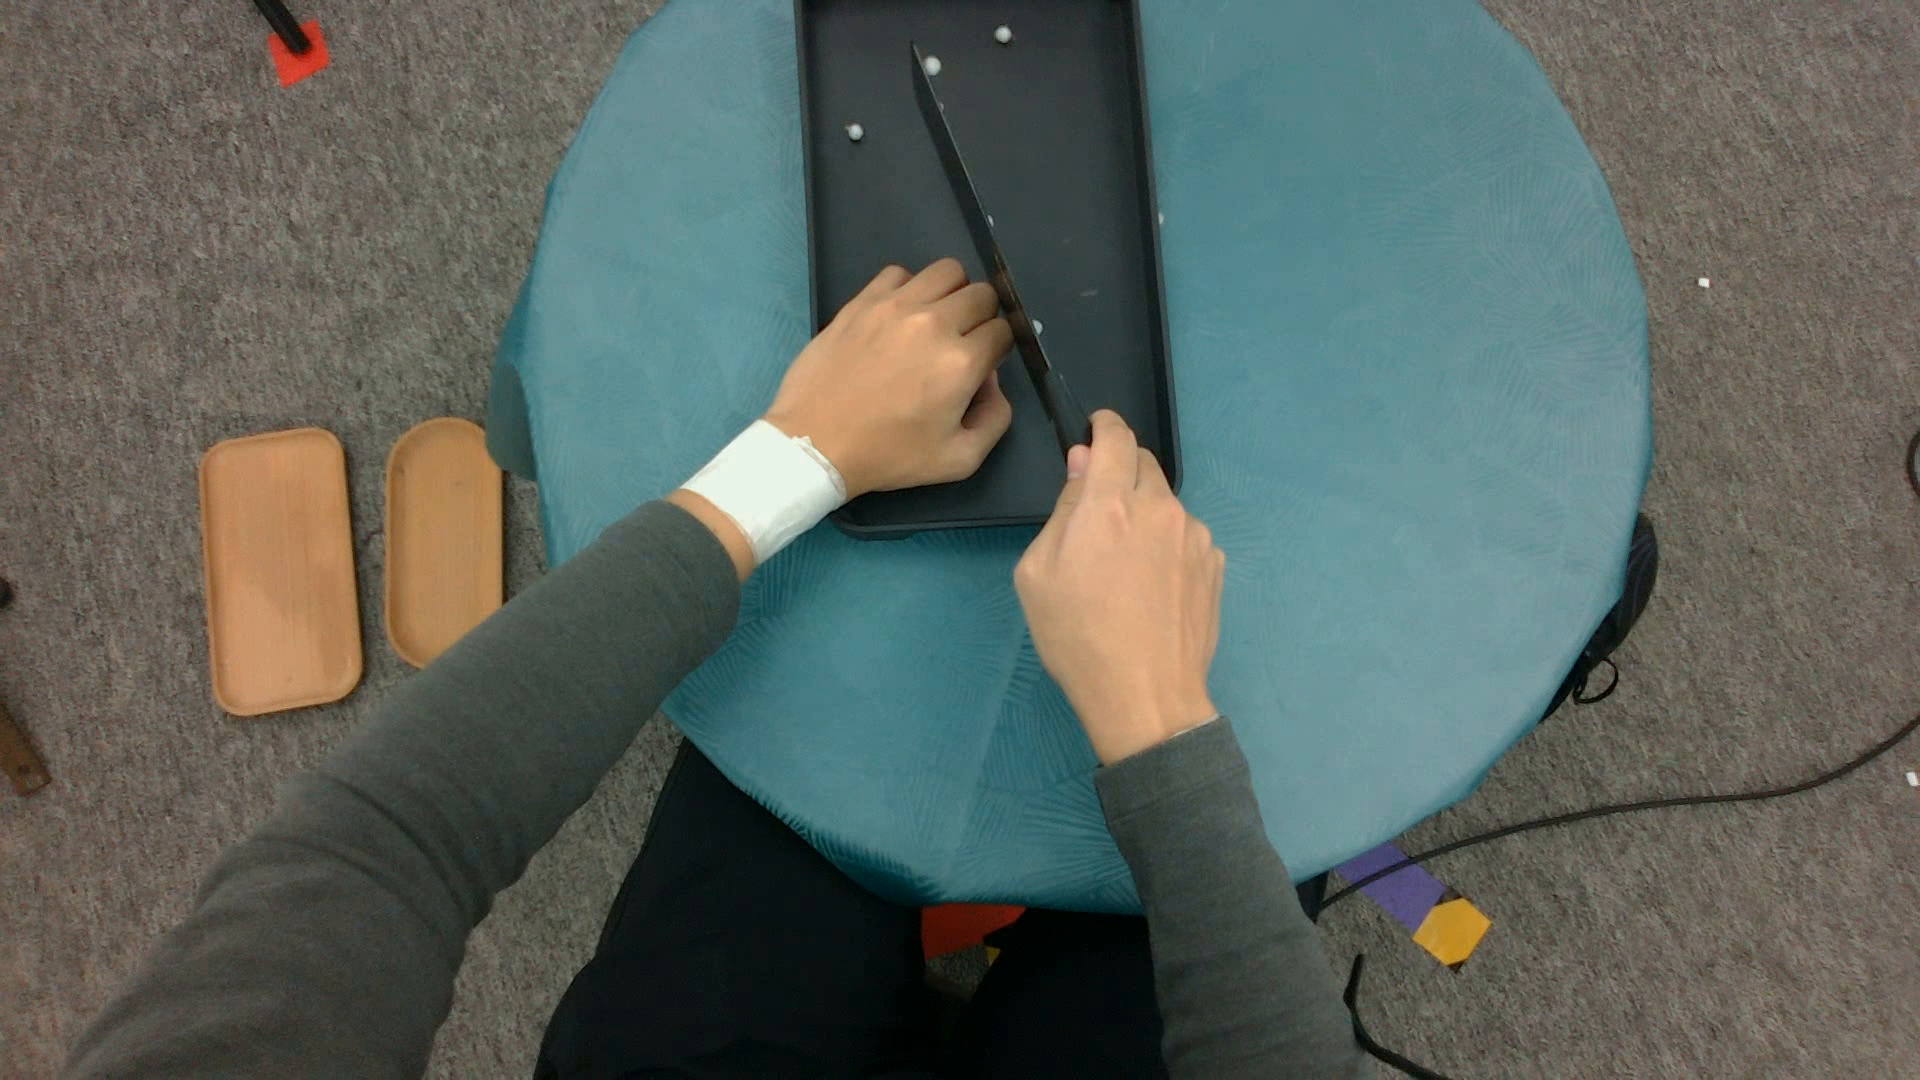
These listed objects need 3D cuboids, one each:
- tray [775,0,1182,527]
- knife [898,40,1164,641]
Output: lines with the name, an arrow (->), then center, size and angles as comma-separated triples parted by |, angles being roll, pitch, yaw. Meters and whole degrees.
tray -> 0.005, -0.168, 0.723 | 0.184, 0.037, 0.318 | -5, 78, -4
knife -> 0.027, -0.094, 0.649 | 0.021, 0.081, 0.302 | -22, 78, -2
